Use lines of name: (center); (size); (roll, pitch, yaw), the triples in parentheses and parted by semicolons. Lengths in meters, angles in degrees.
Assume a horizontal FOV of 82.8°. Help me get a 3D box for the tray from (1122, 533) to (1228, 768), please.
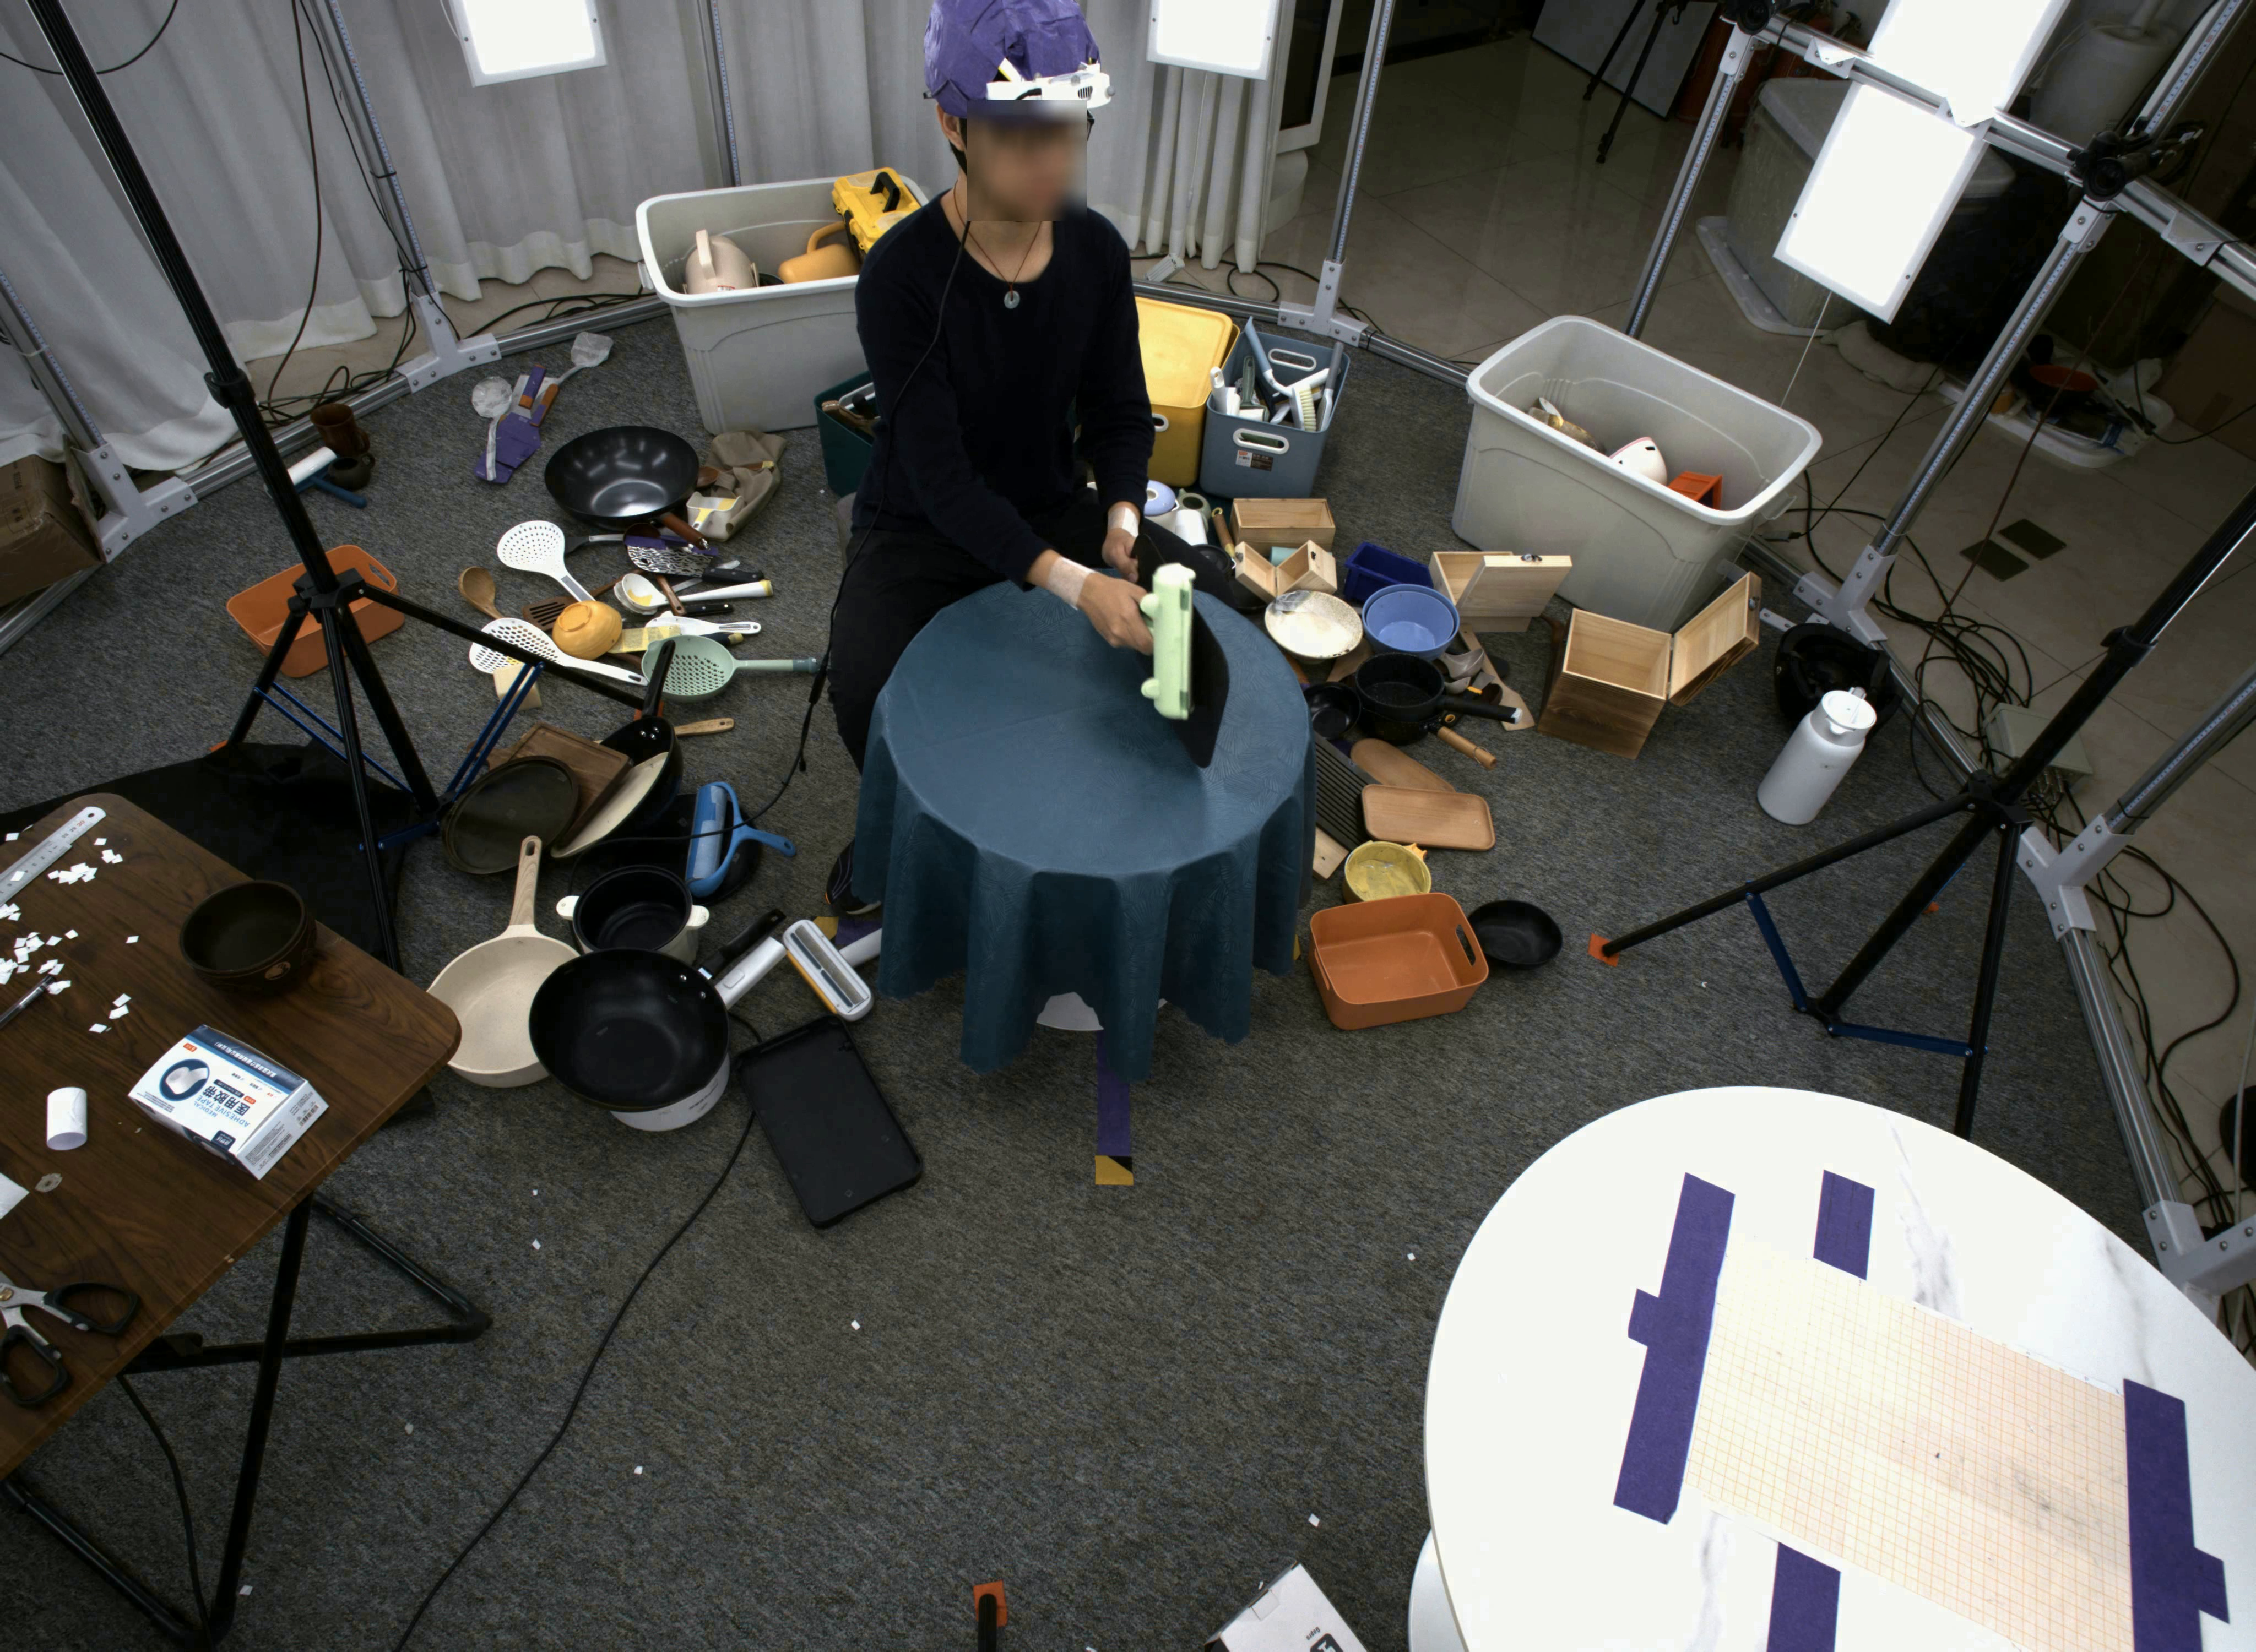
tray: (0.057, -0.247, 1.750); (0.010, 0.206, 0.333); (-12, 50, -19)

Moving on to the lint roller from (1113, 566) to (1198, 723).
lint roller: (0.019, -0.249, 1.687); (0.082, 0.195, 0.186); (-21, 33, -35)
